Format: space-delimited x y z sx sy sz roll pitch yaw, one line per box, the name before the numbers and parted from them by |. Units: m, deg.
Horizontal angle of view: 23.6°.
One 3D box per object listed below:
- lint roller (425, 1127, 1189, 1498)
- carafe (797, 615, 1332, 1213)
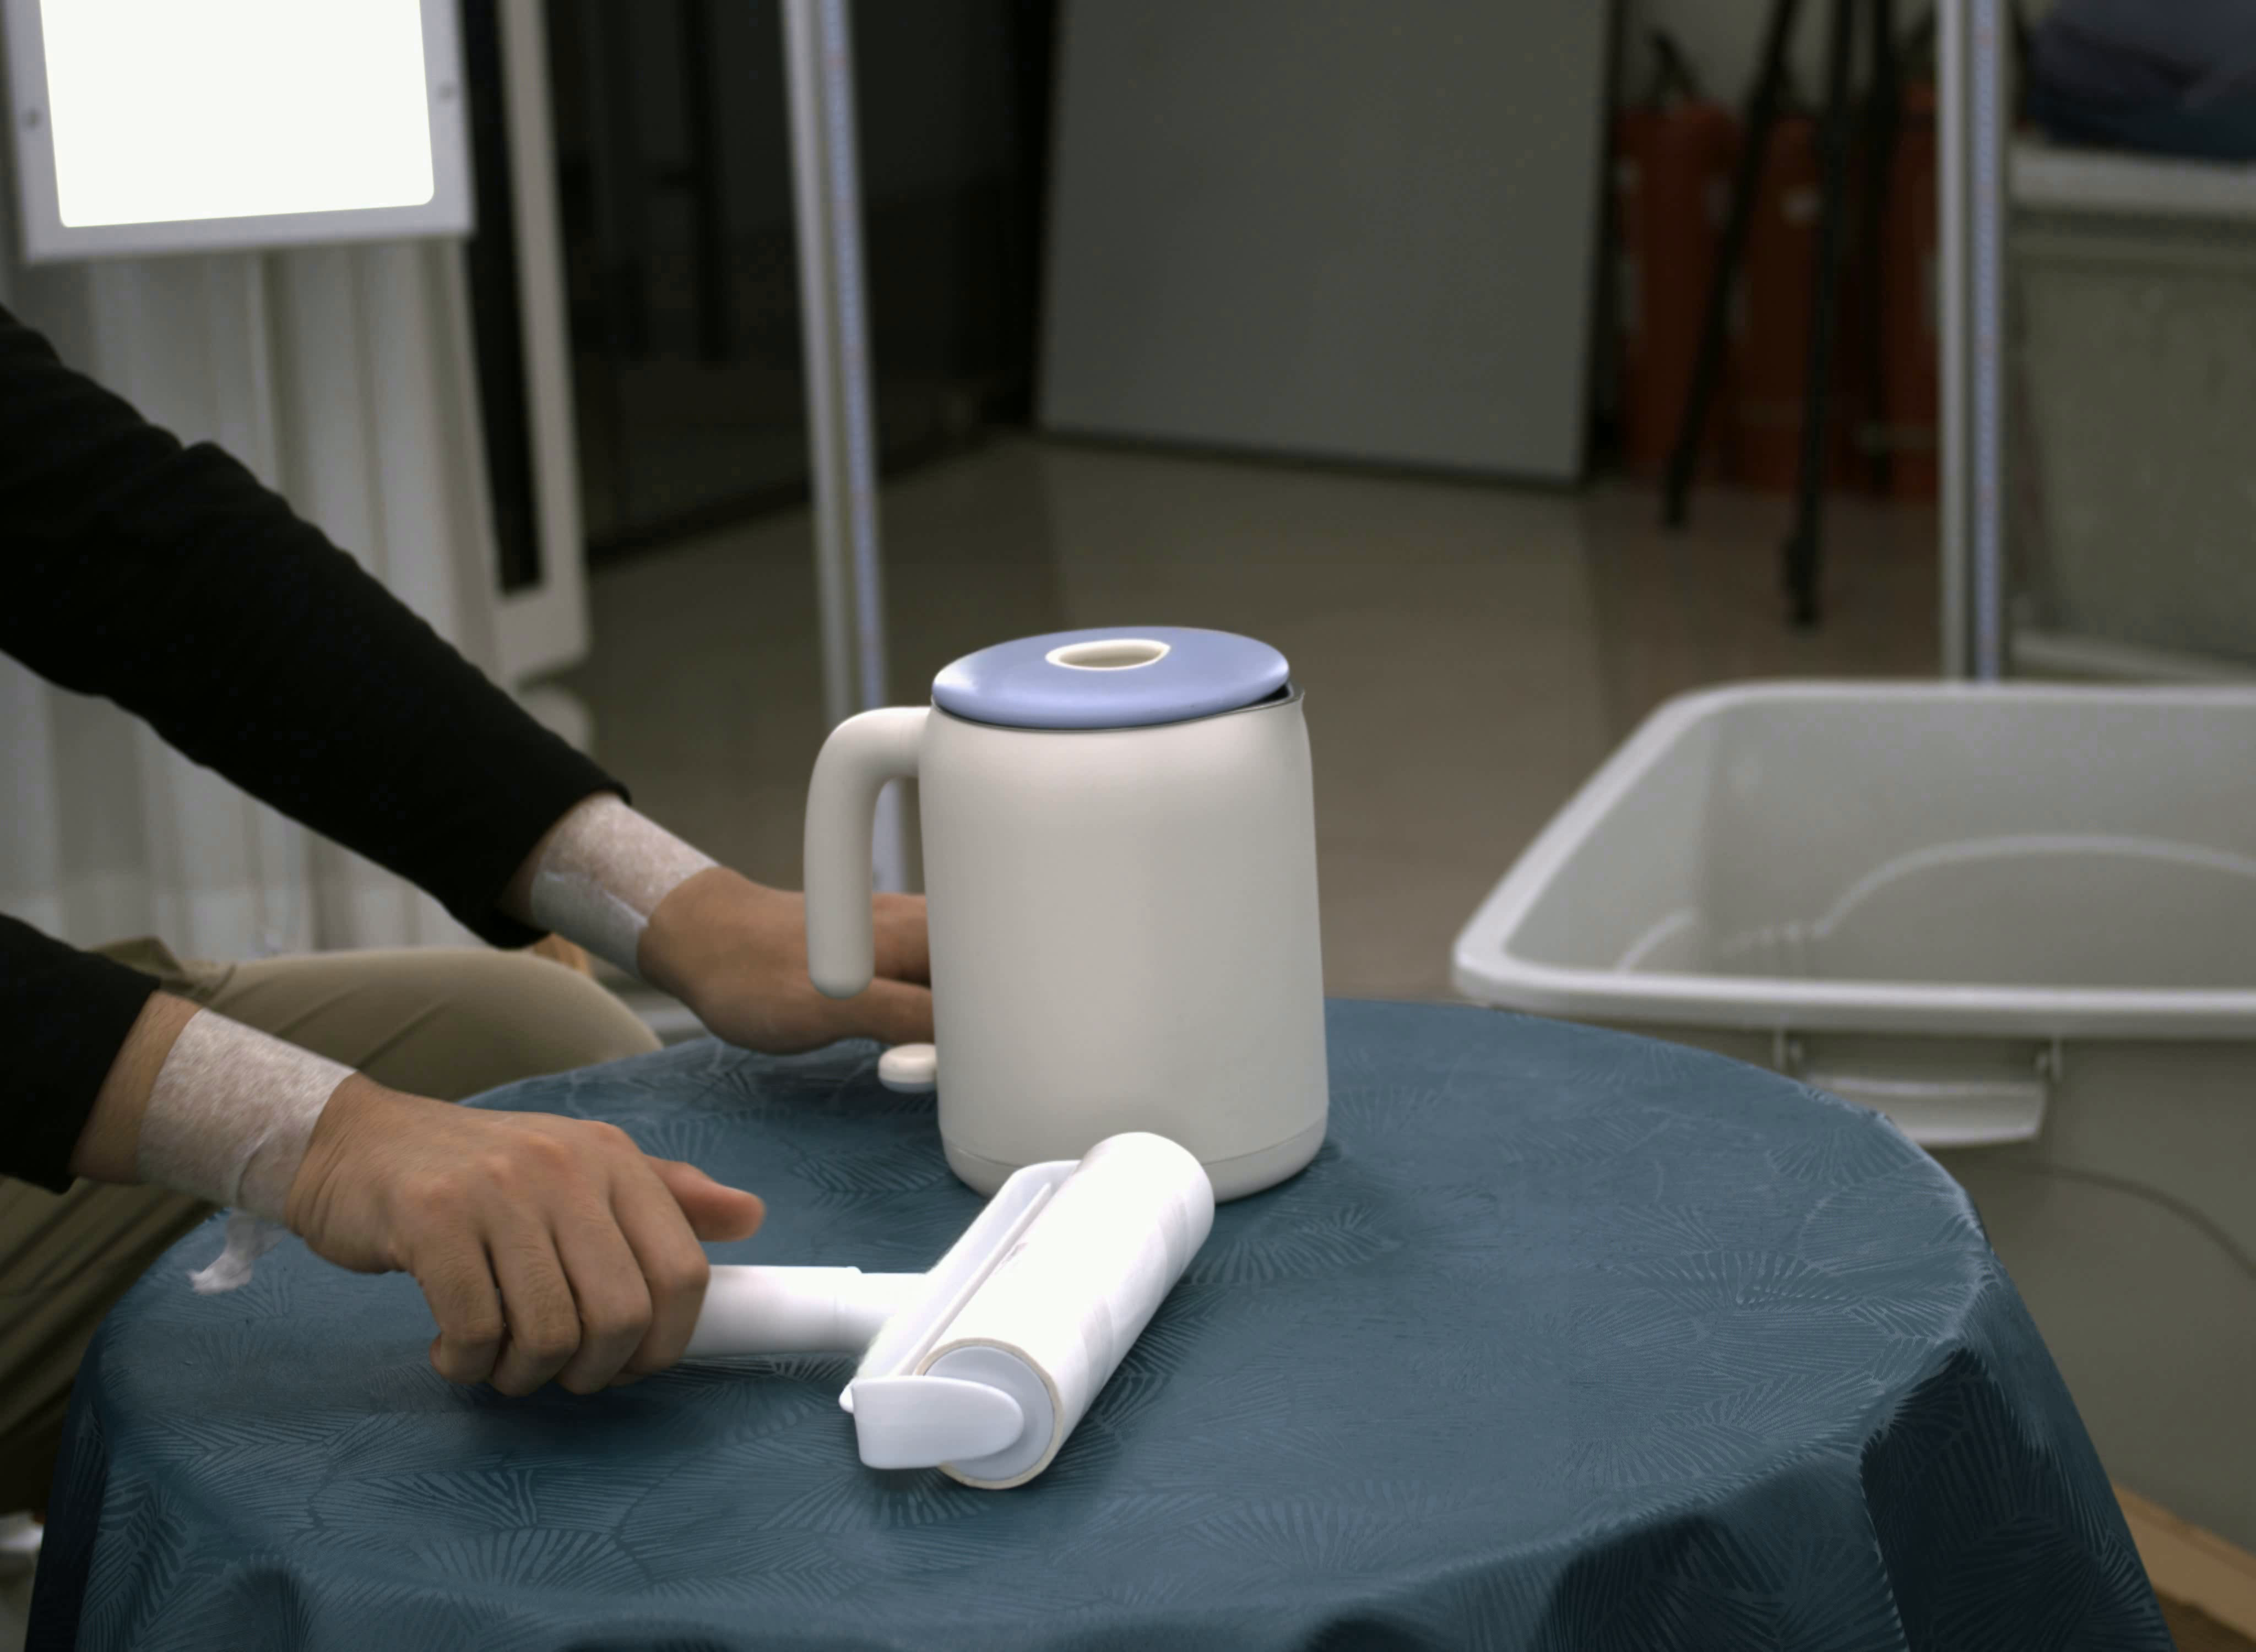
lint roller | -0.106 0.143 1.620 0.224 0.049 0.201 -2 15 15
carafe | -0.024 0.029 1.791 0.191 0.184 0.130 0 13 25
